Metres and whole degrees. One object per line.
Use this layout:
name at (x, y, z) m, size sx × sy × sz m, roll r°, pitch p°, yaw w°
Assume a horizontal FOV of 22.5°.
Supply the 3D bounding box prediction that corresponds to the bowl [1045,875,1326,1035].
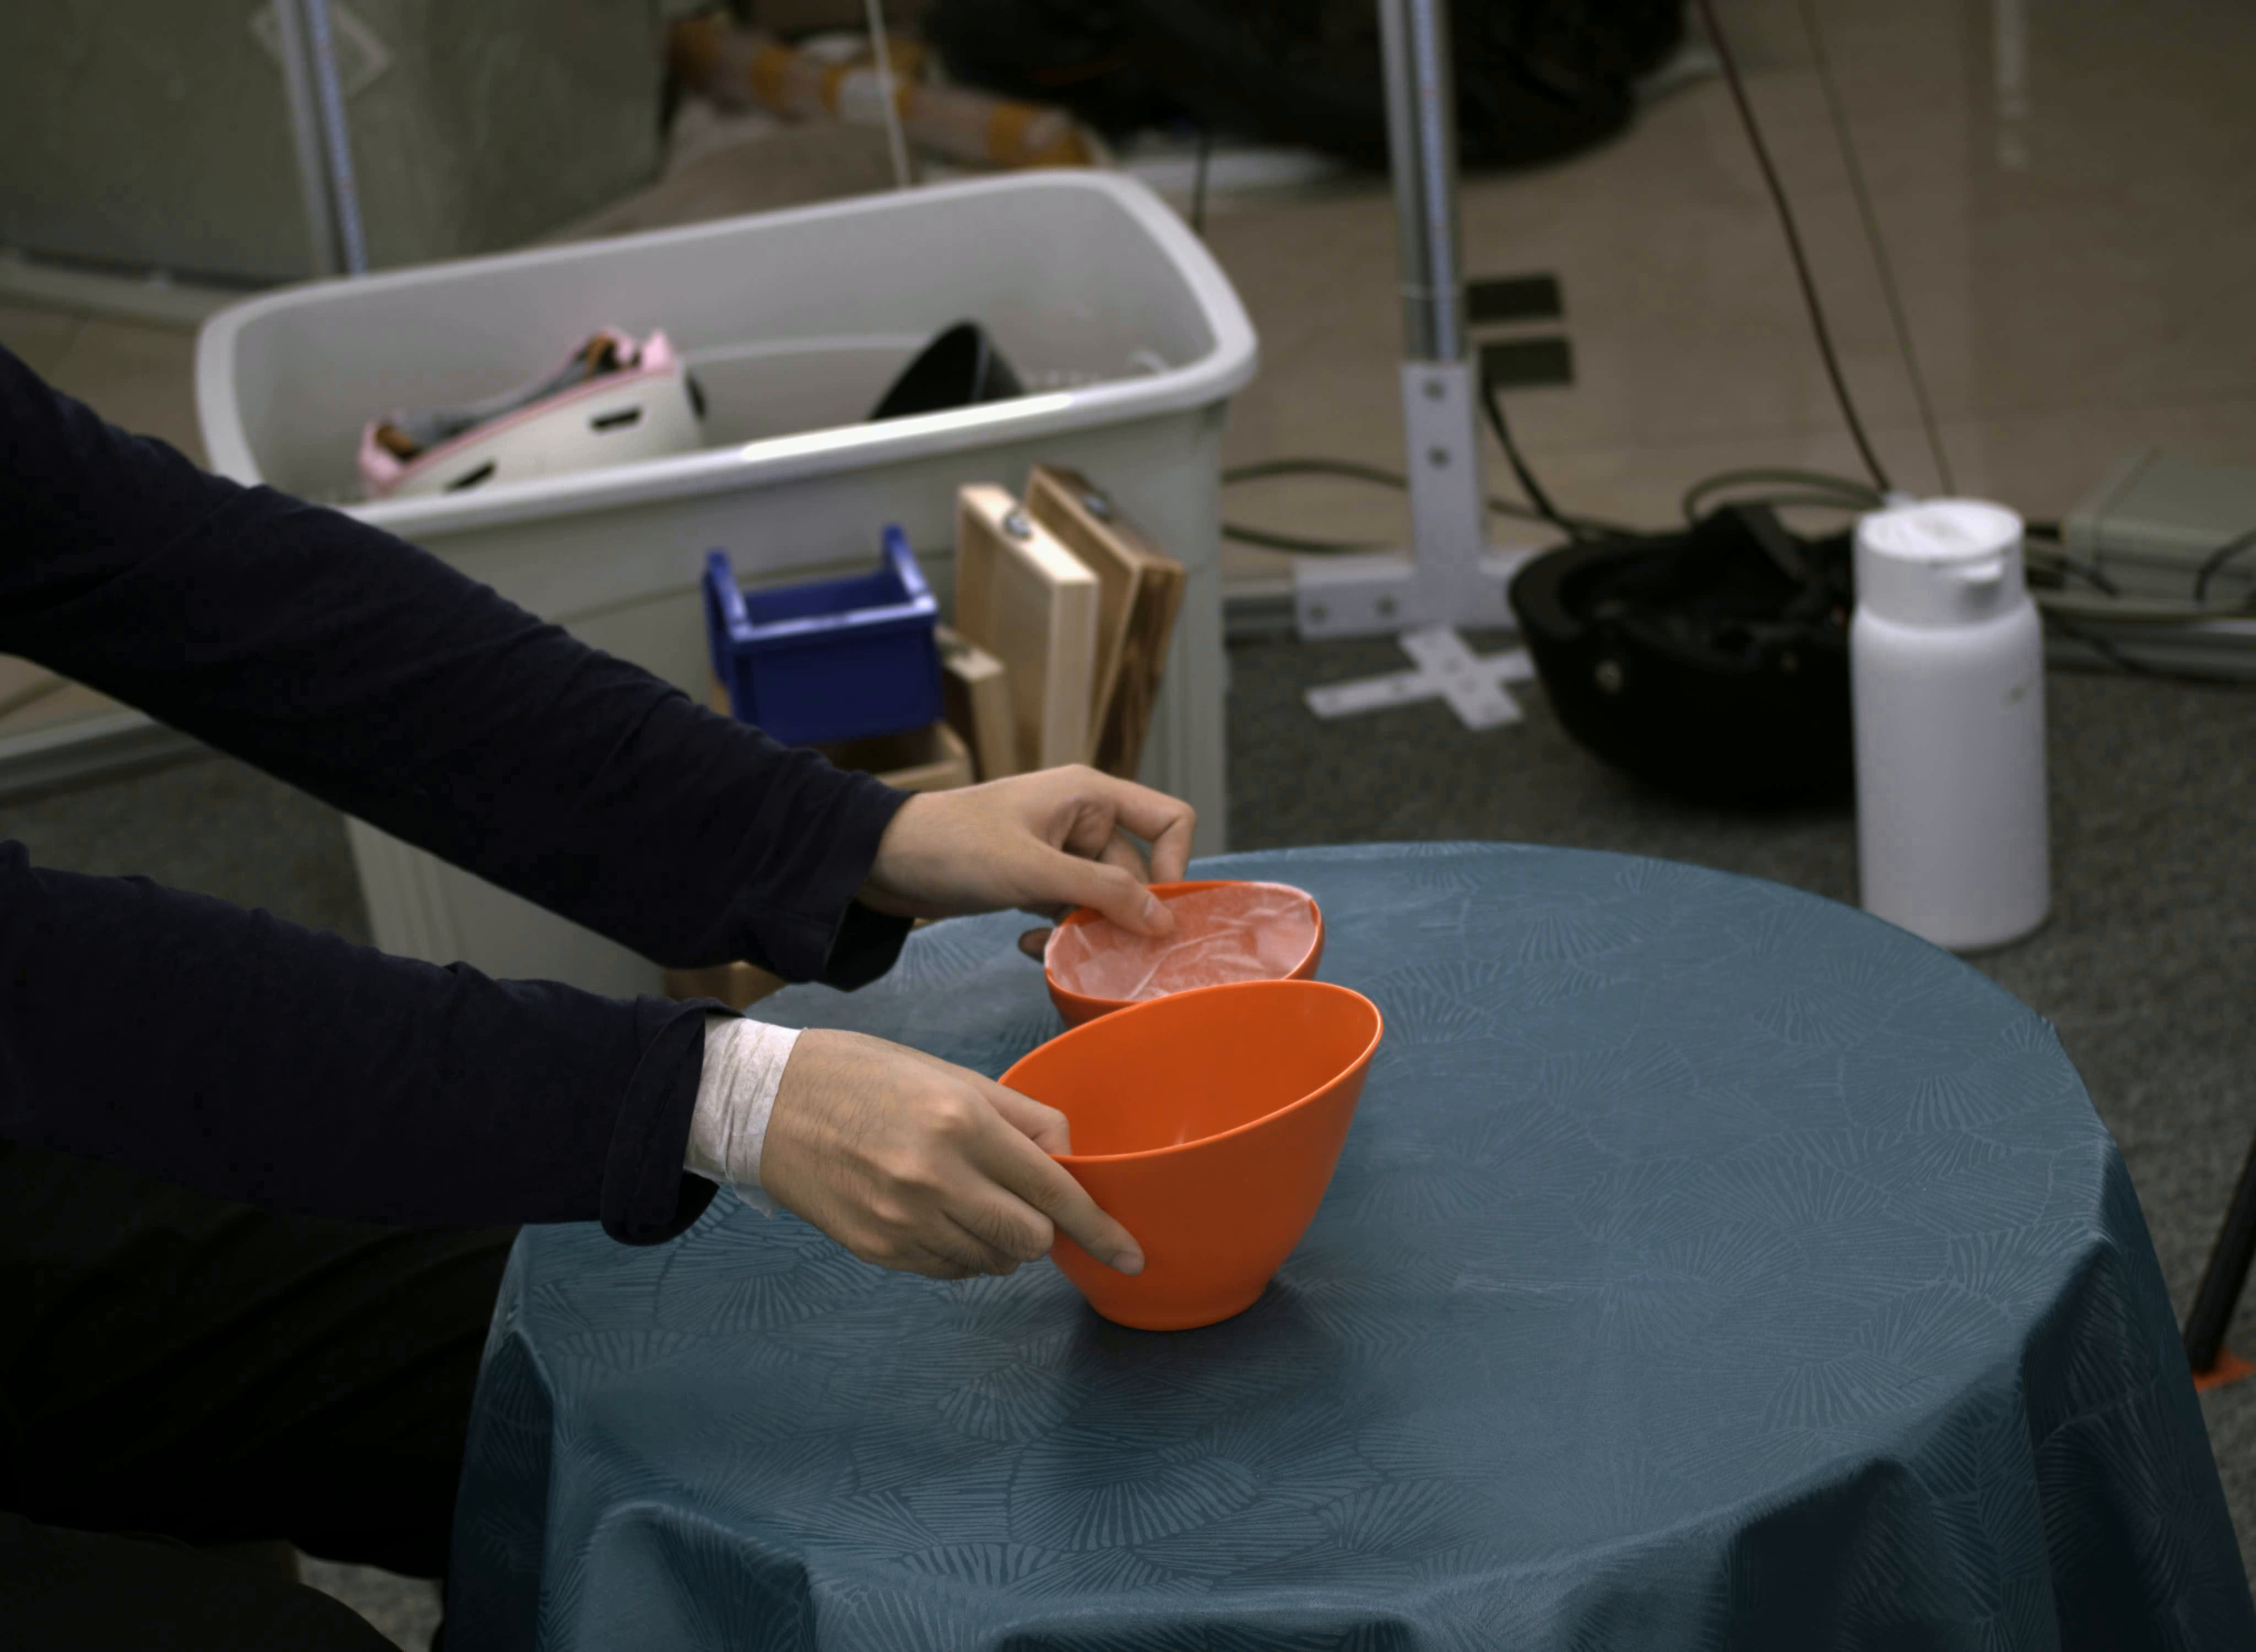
bowl at (0.024, 0.065, 2.239) m, size 0.119 × 0.052 × 0.117 m, roll -3°, pitch 26°, yaw 2°

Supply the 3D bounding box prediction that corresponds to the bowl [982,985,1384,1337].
bowl at (0.023, 0.126, 2.053) m, size 0.148 × 0.106 × 0.146 m, roll -5°, pitch 26°, yaw 3°
